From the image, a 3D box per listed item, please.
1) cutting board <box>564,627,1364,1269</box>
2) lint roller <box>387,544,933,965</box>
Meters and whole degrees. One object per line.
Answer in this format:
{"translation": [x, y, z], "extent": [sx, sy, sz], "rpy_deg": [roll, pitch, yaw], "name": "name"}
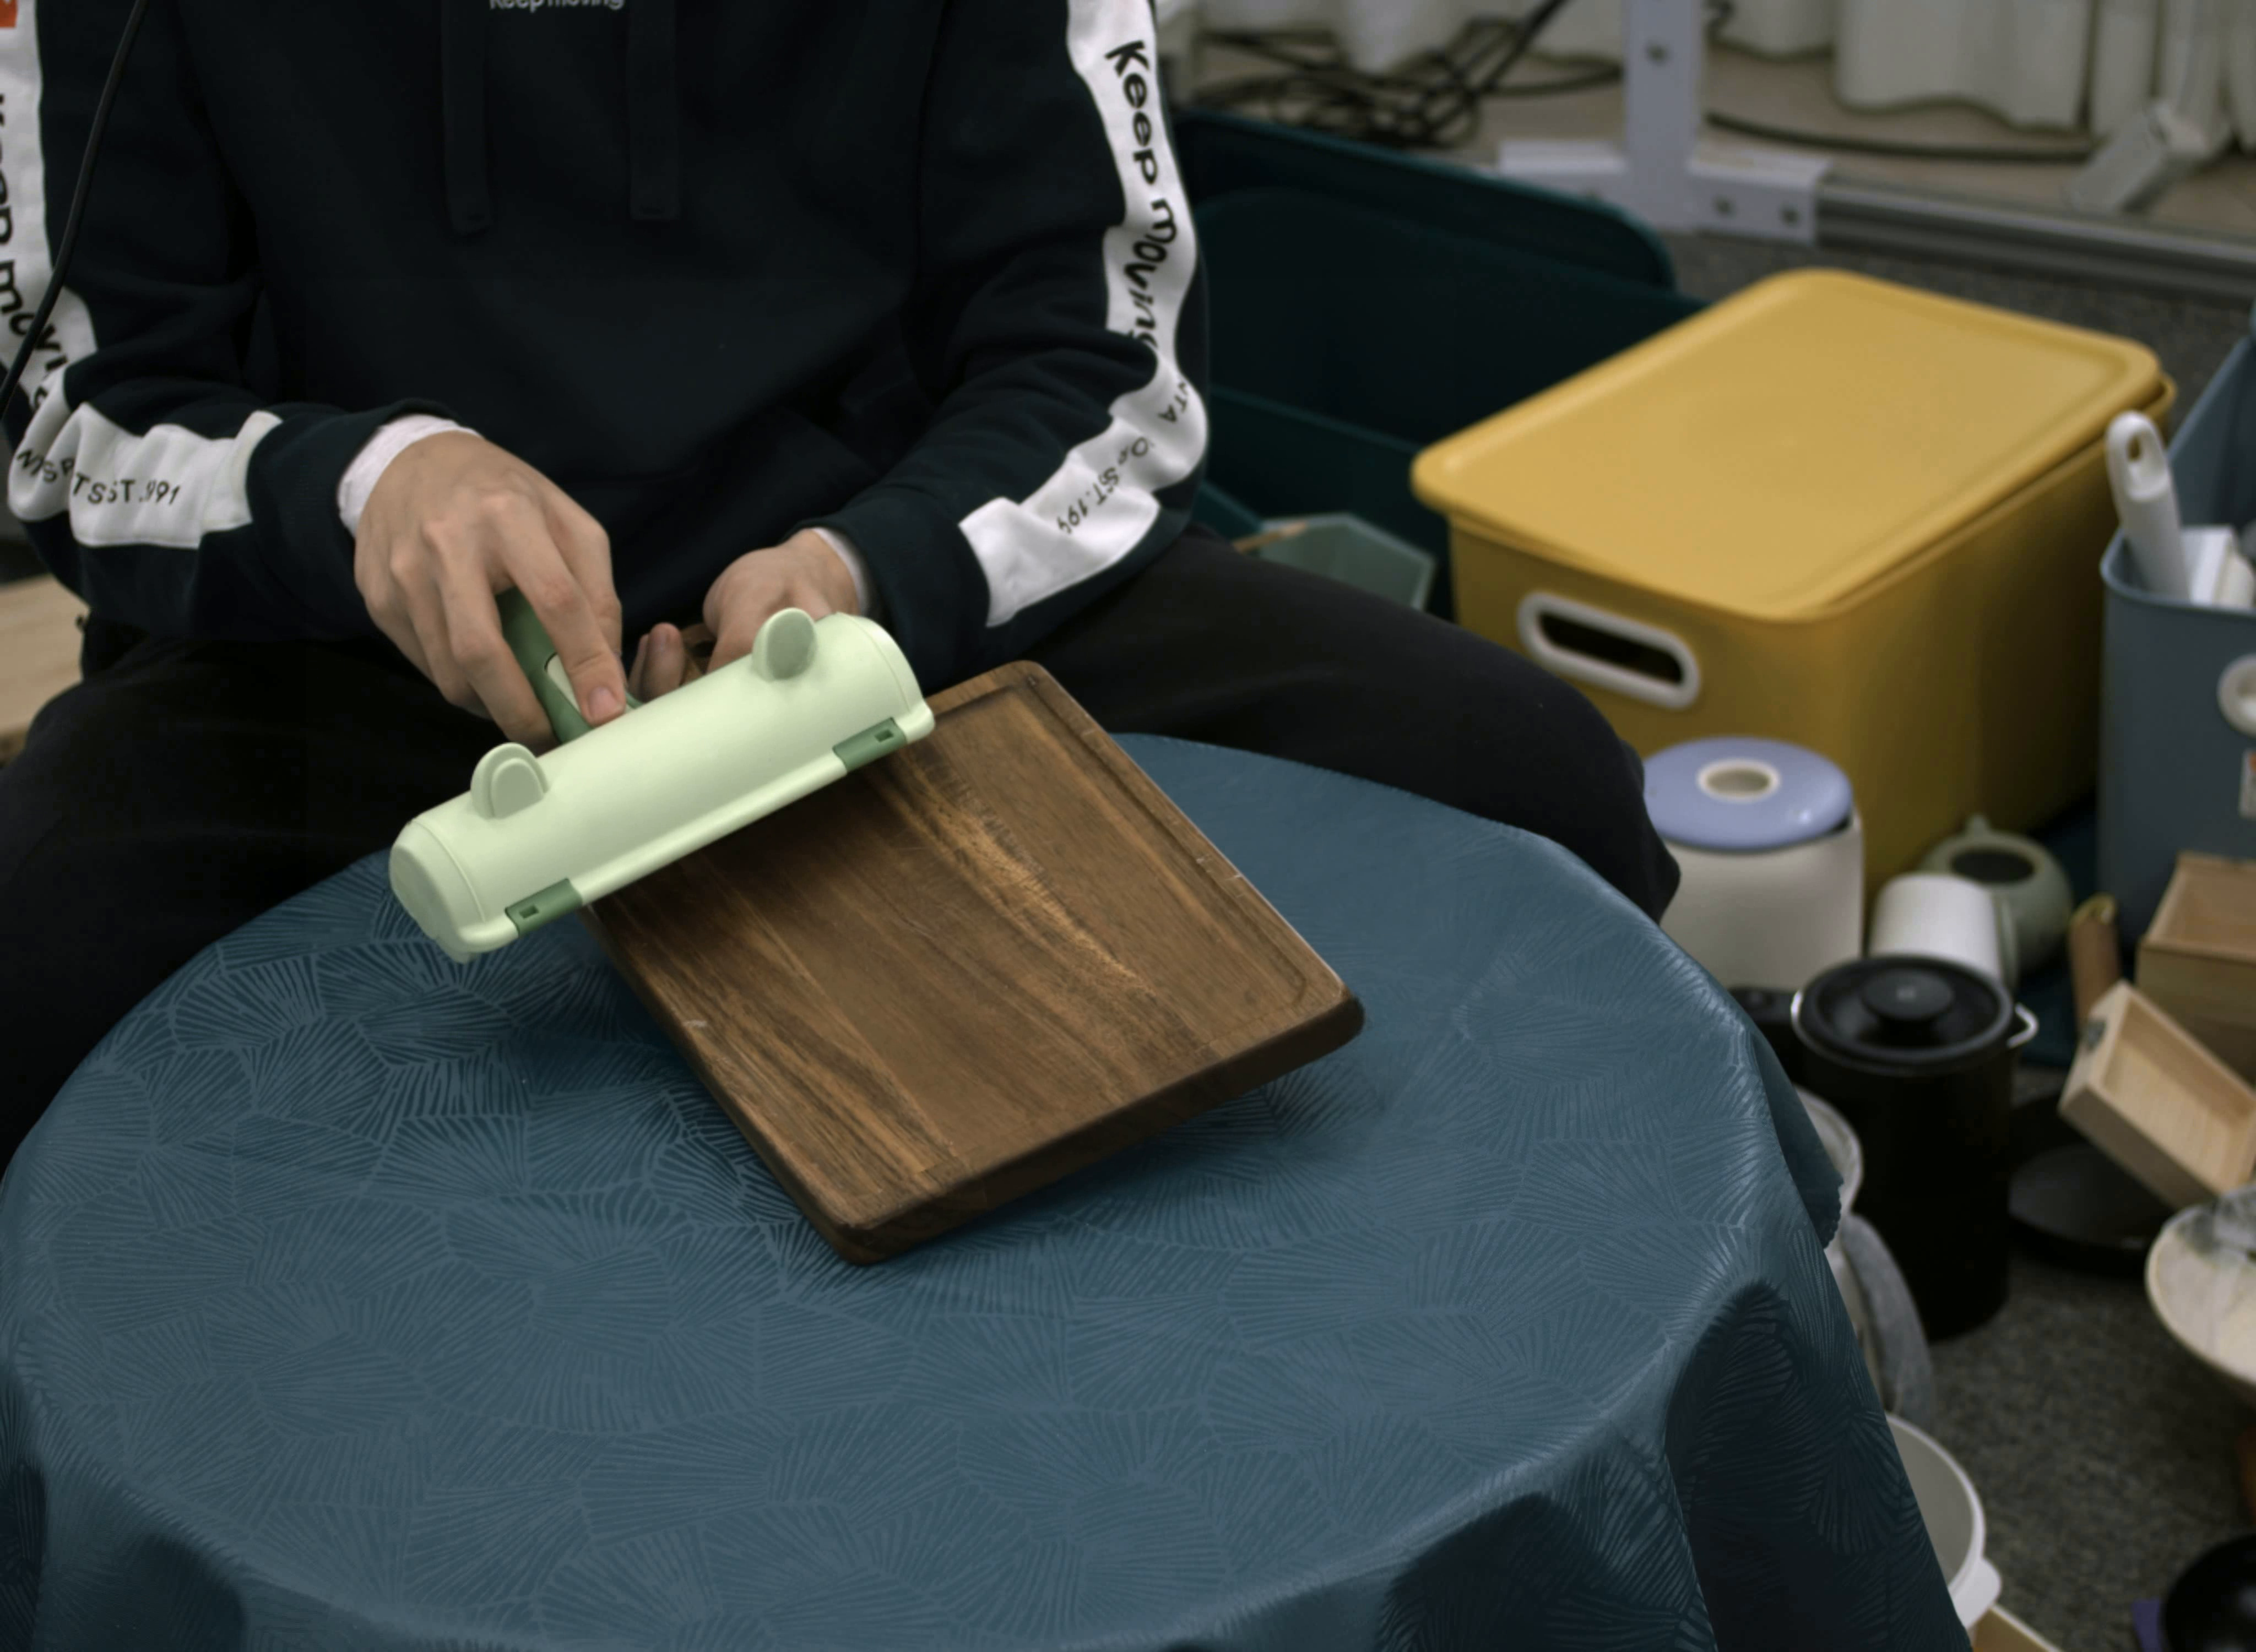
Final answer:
{"translation": [-0.085, 0.019, 1.979], "extent": [0.202, 0.023, 0.355], "rpy_deg": [-23, 38, -18], "name": "cutting board"}
{"translation": [-0.196, -0.056, 1.998], "extent": [0.200, 0.081, 0.185], "rpy_deg": [-27, 59, -24], "name": "lint roller"}
